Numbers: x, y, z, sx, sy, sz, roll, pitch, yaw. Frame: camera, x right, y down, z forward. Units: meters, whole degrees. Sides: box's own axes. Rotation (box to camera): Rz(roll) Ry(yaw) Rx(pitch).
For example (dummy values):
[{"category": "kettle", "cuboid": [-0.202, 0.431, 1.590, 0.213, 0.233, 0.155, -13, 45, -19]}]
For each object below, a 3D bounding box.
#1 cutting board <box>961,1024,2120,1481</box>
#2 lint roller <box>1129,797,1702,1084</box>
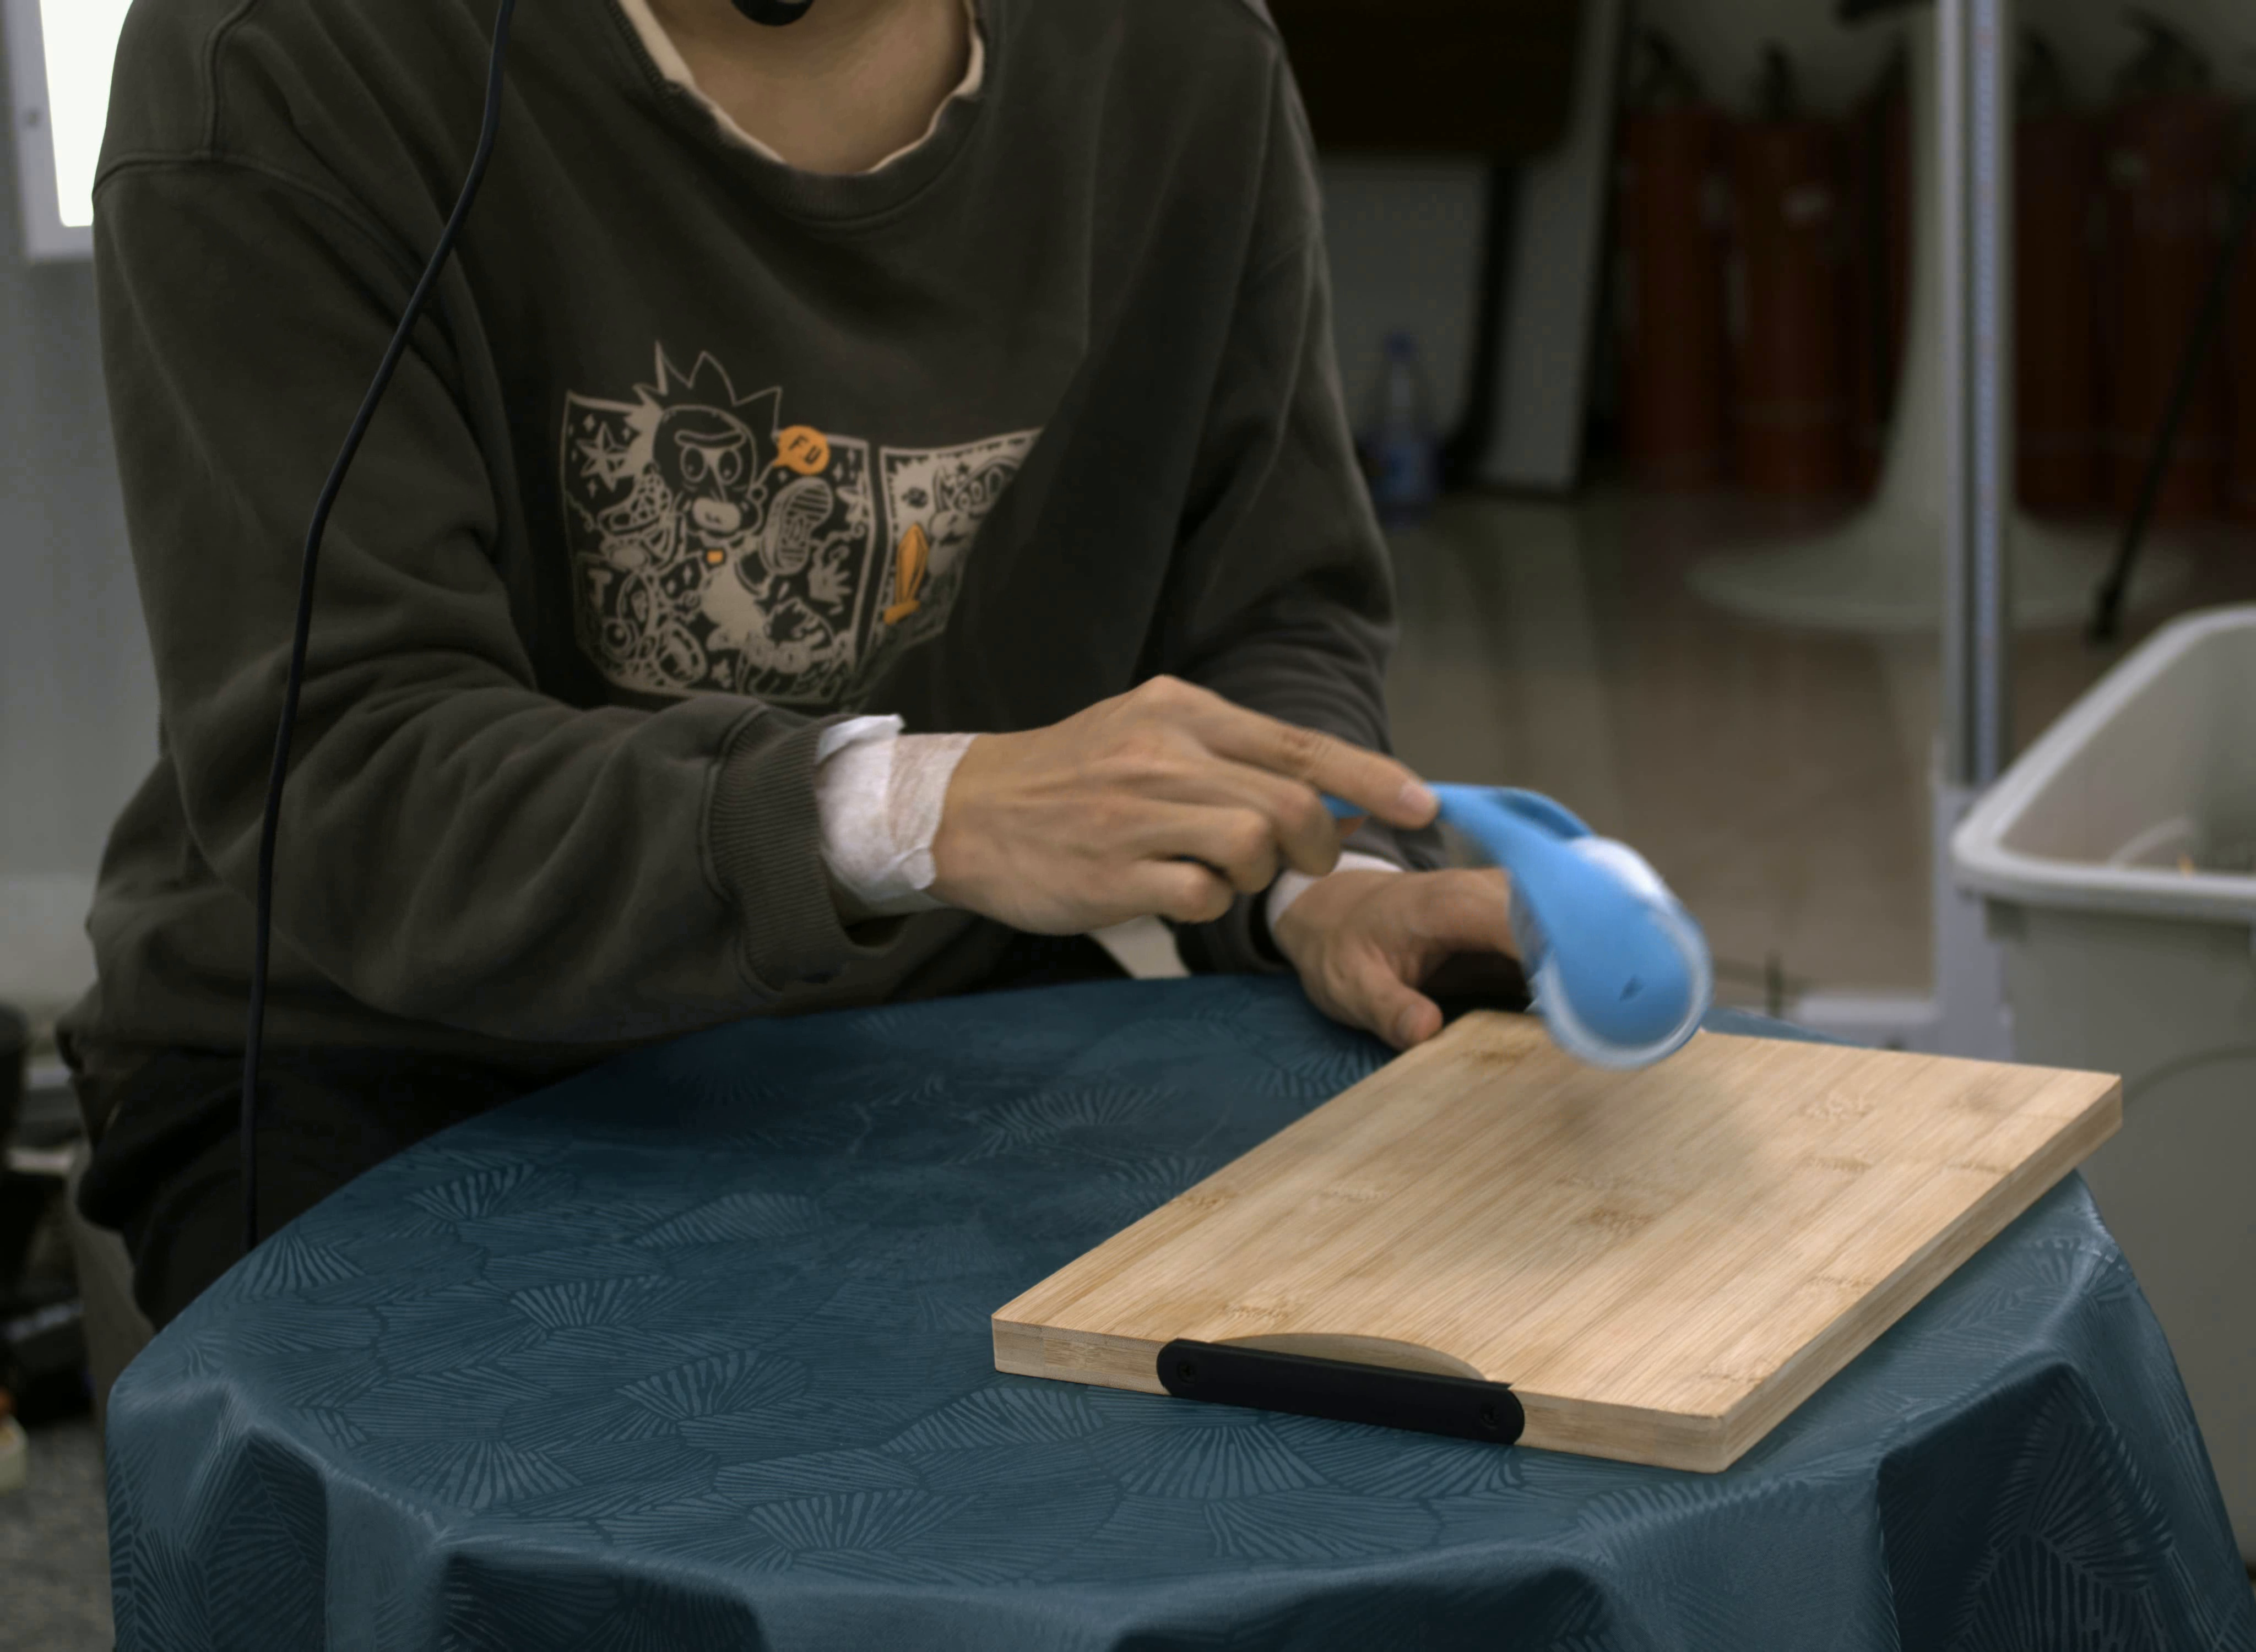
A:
[{"category": "cutting board", "cuboid": [0.139, 0.126, 1.682, 0.251, 0.024, 0.343, 3, 15, 29]}, {"category": "lint roller", "cuboid": [0.094, 0.022, 1.715, 0.178, 0.068, 0.229, 20, 6, -1]}]
